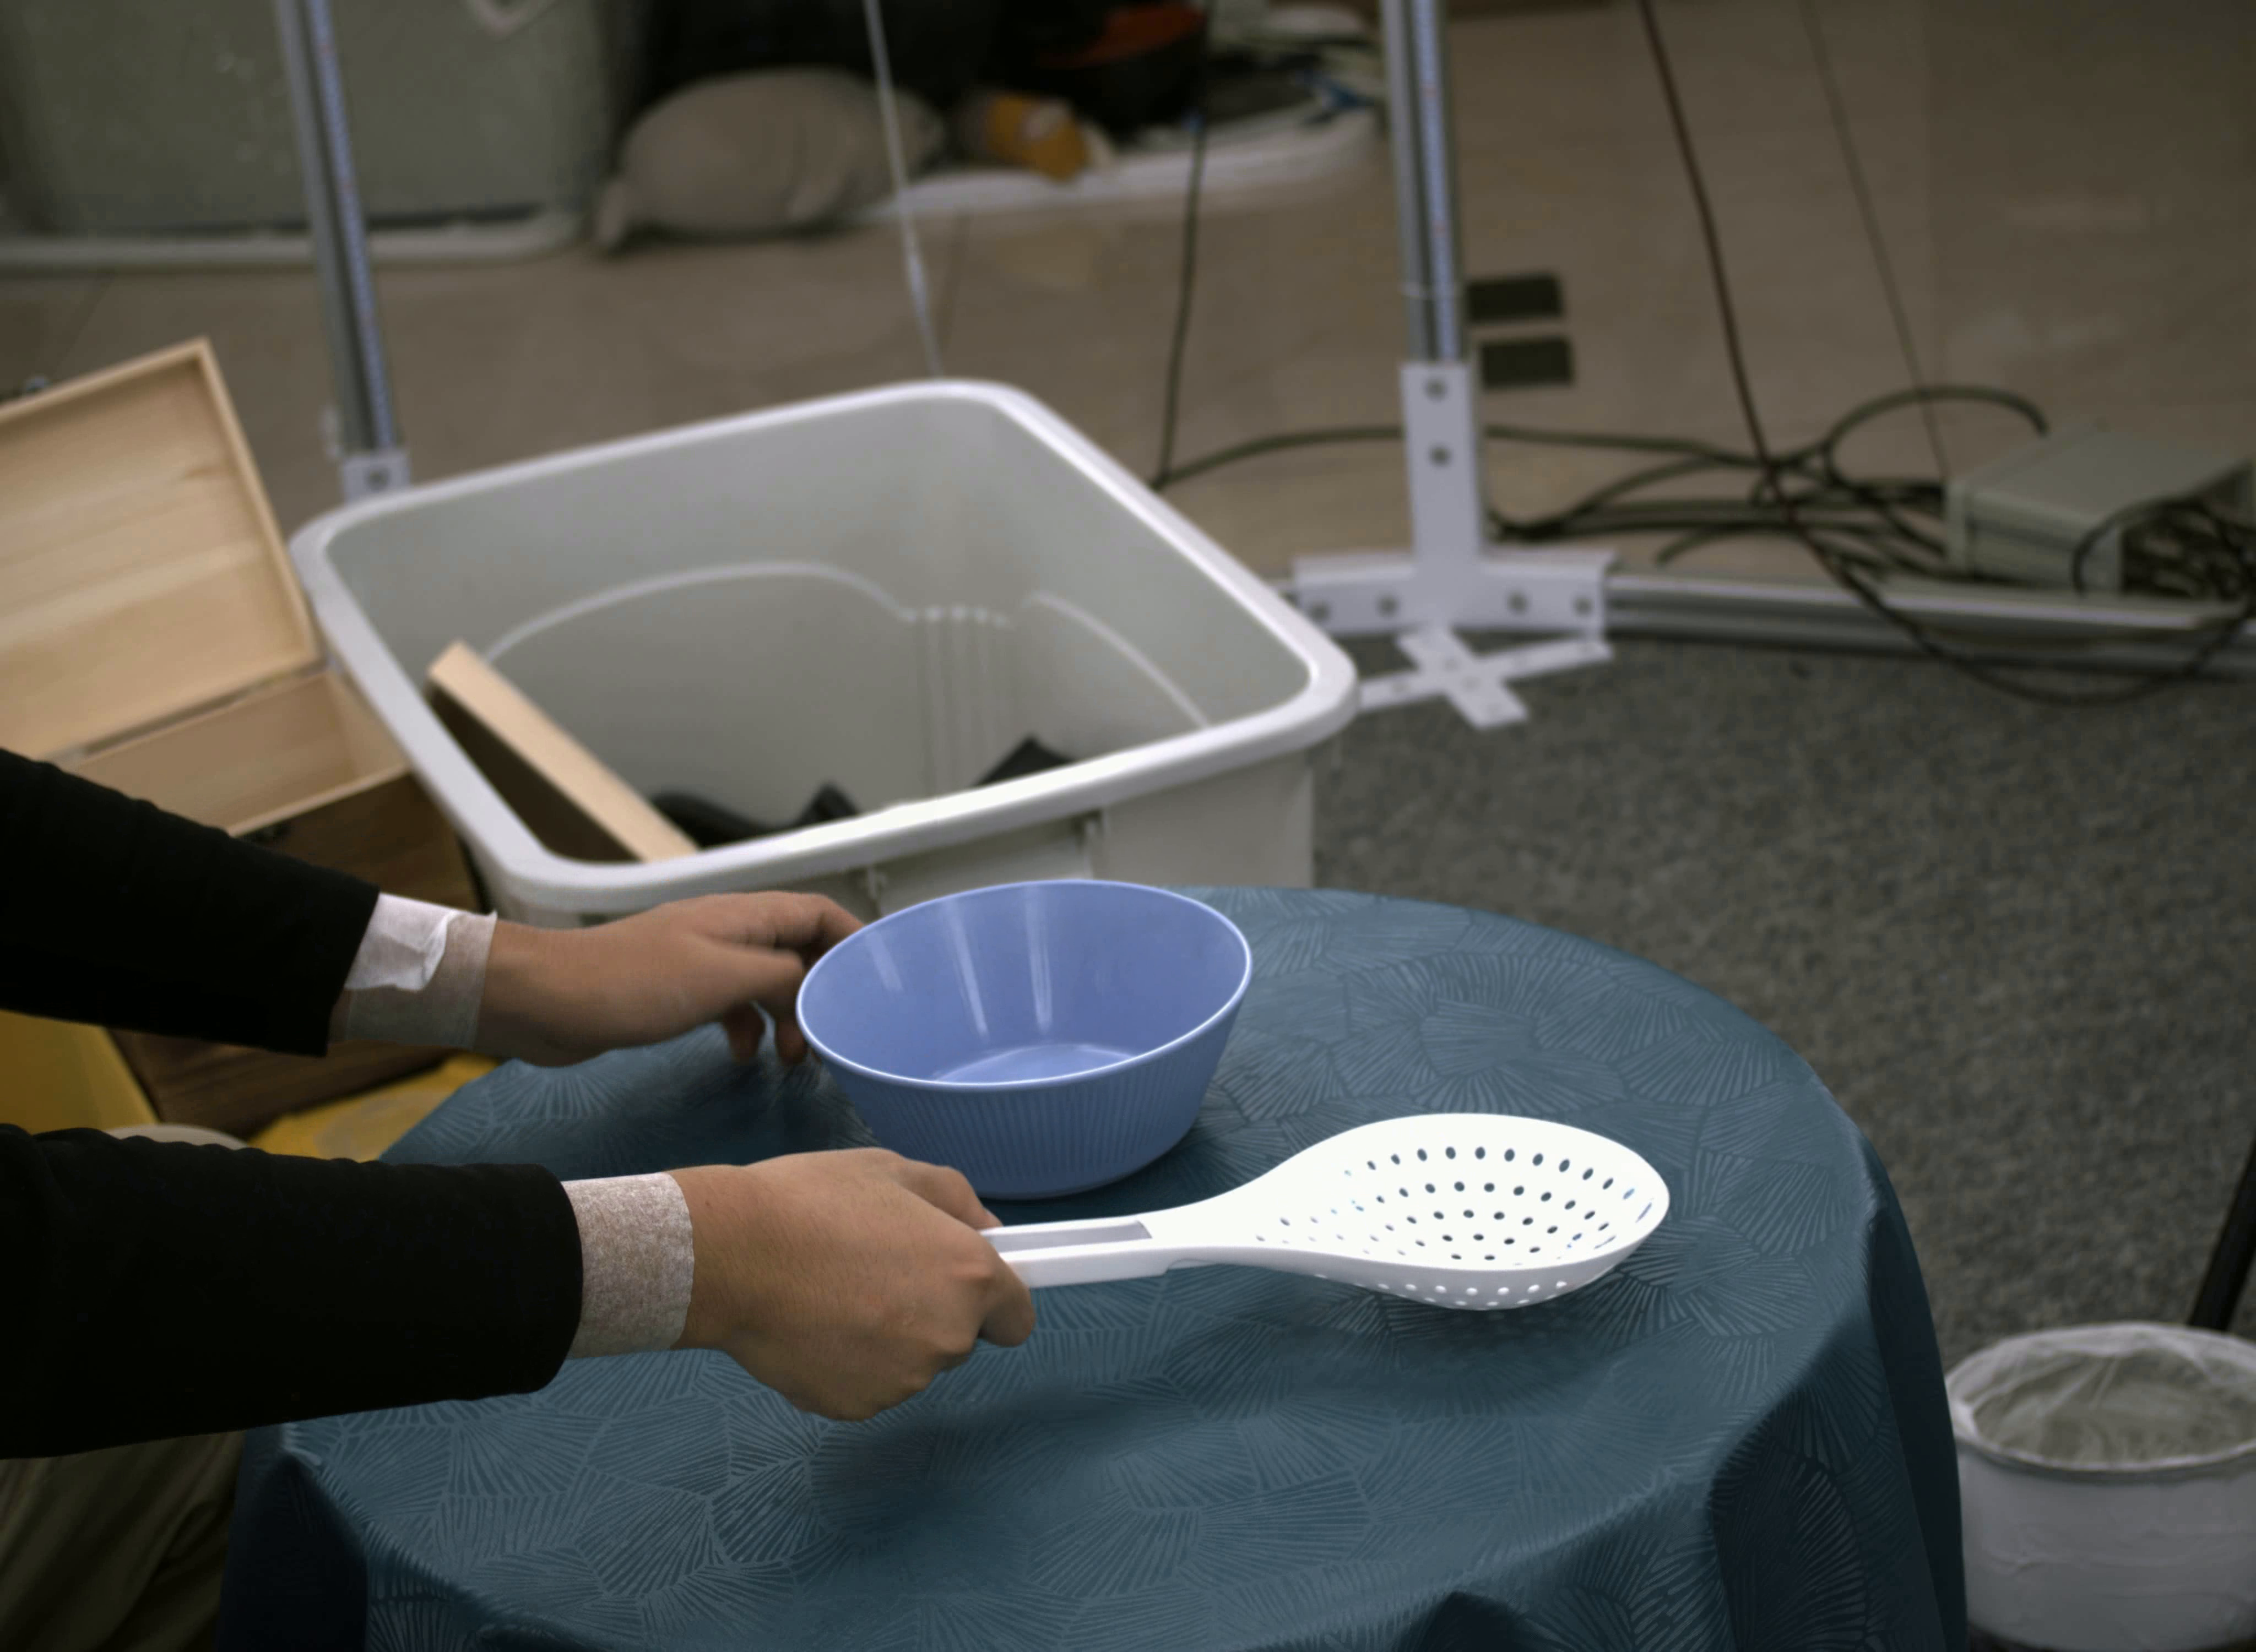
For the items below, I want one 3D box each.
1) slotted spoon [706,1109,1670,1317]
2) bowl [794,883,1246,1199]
[{"bbox_3d":[0.023,0.146,2.011,0.349,0.046,0.134,0,22,-18],"label":"slotted spoon"},{"bbox_3d":[-0.038,0.088,2.182,0.176,0.071,0.173,-6,25,3],"label":"bowl"}]
